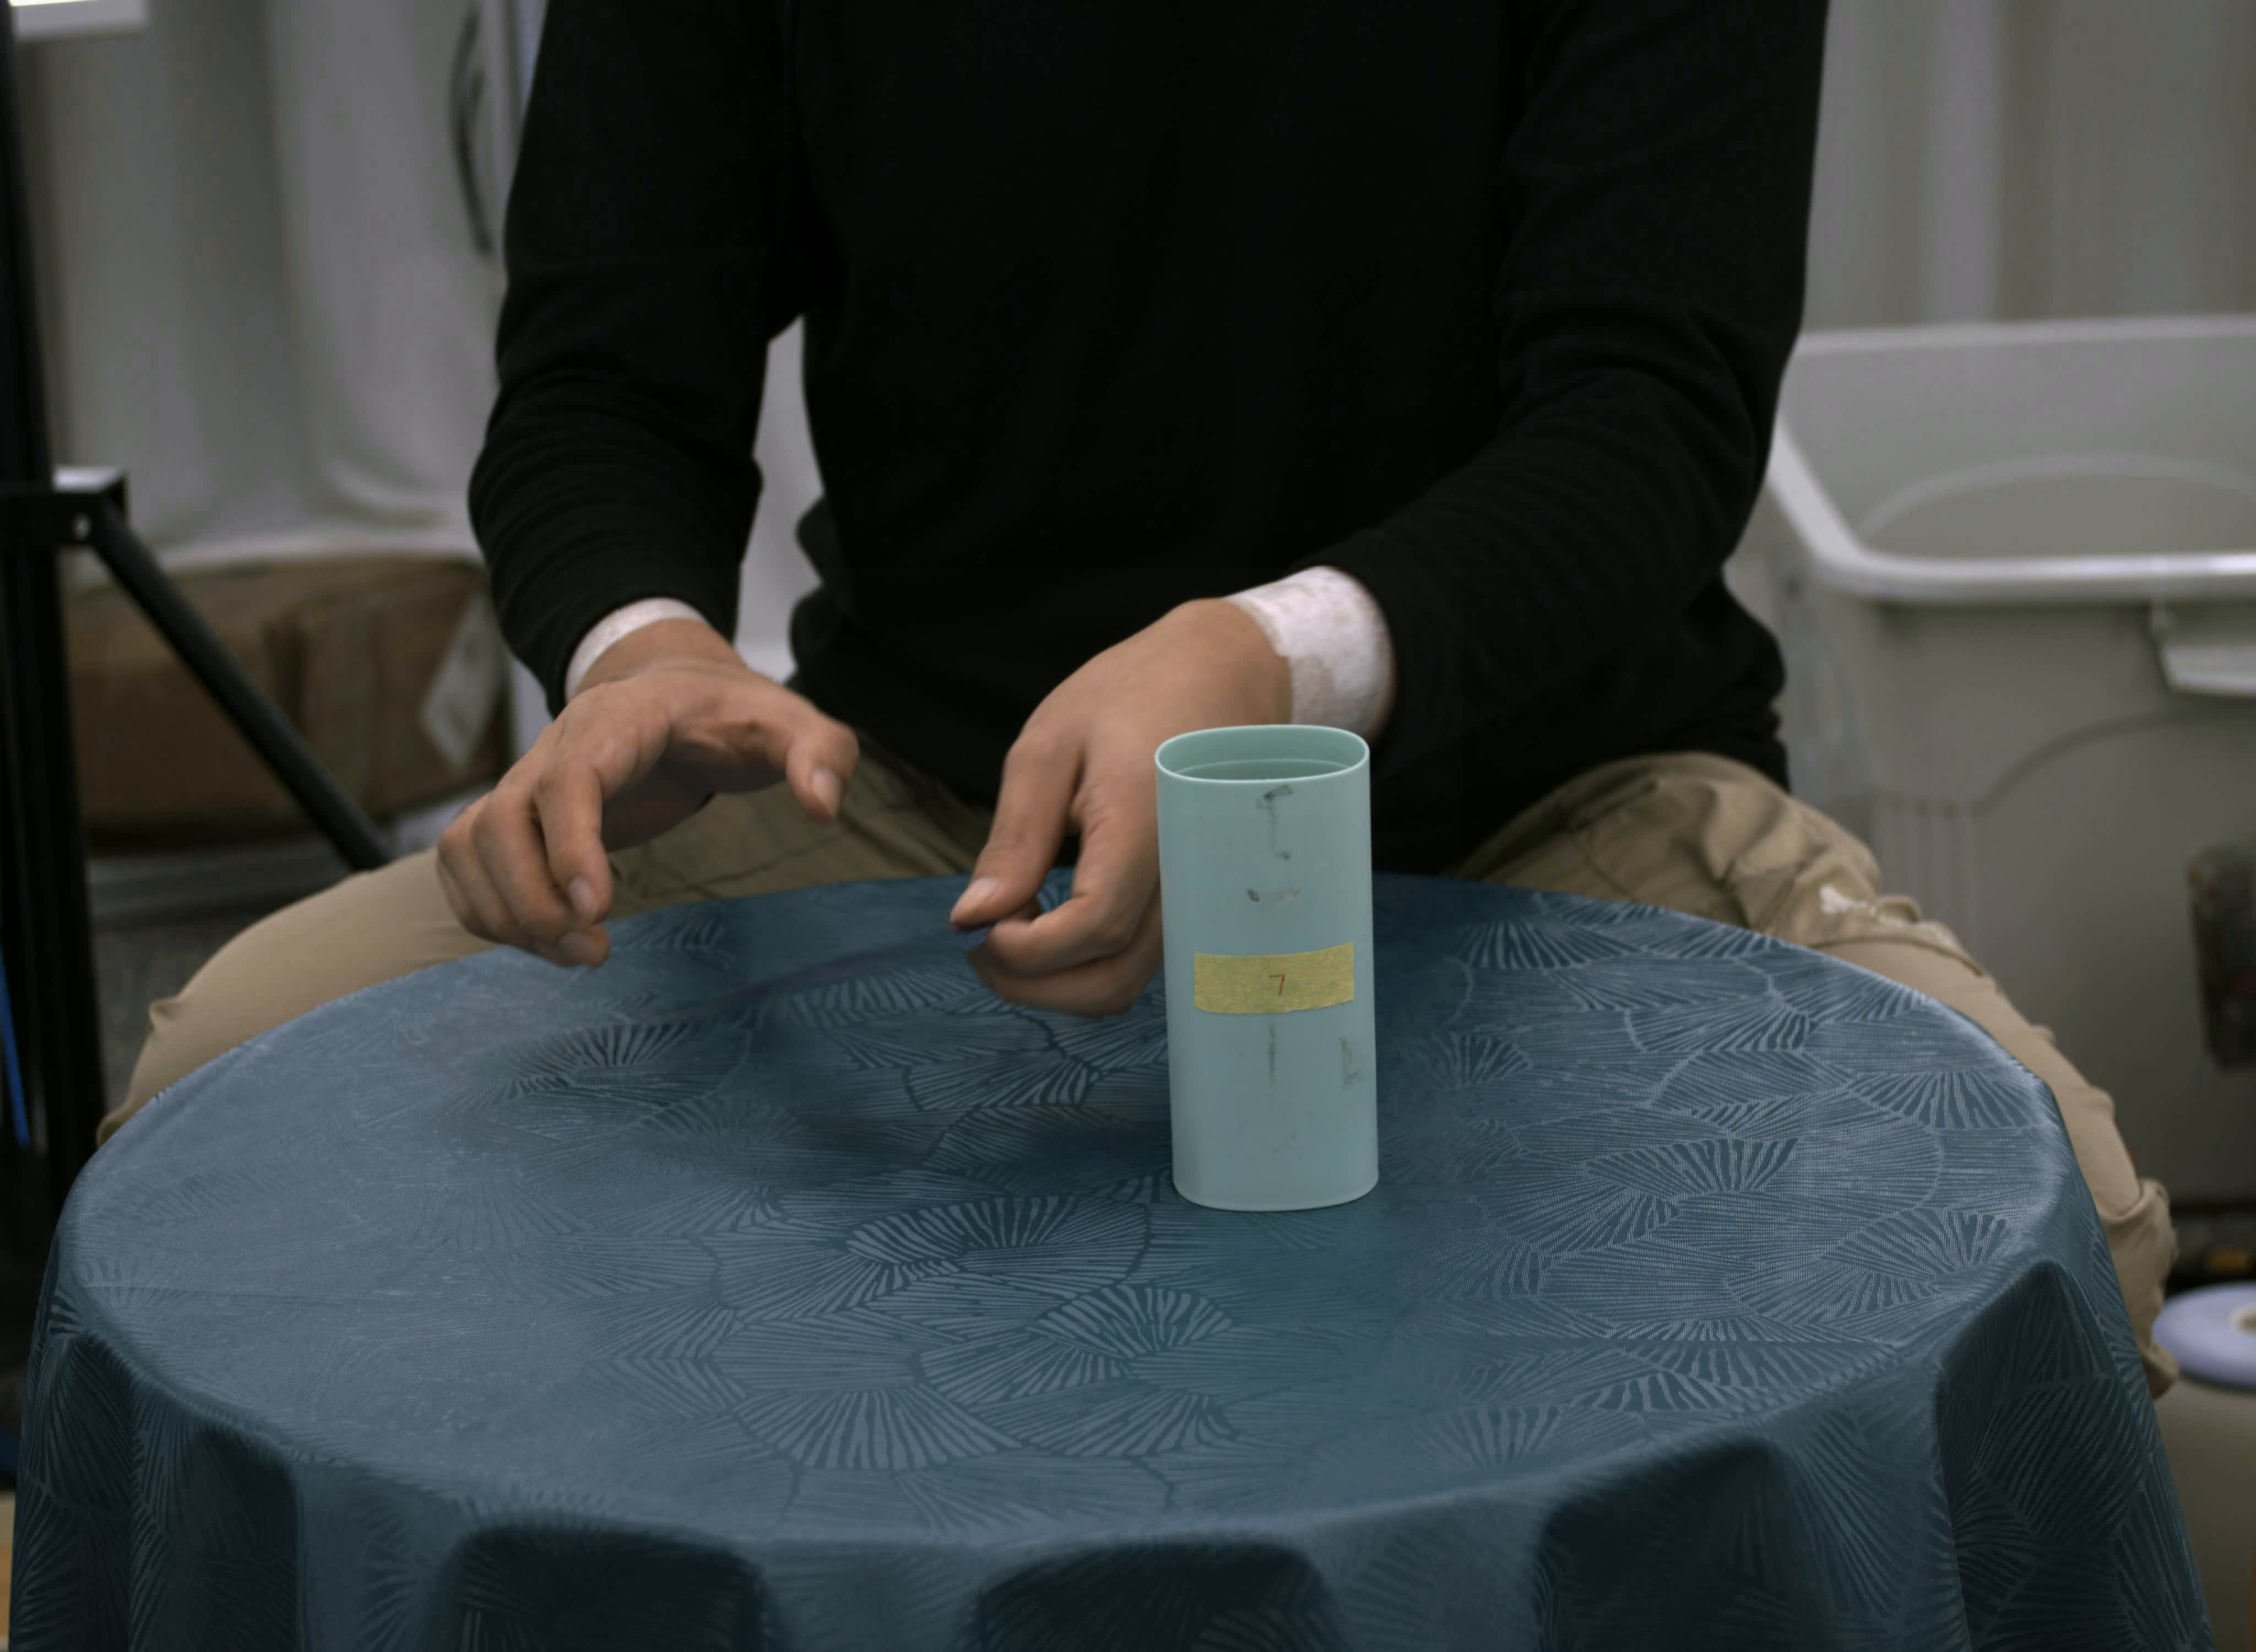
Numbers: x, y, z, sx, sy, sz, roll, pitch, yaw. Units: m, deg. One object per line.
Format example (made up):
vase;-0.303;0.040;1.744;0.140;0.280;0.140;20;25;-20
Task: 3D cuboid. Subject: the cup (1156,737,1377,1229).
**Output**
cup;0.042;0.045;1.548;0.066;0.132;0.067;-3;15;-1

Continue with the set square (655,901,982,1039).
set square;-0.087;0.041;1.619;0.134;0.006;0.060;-16;14;44
